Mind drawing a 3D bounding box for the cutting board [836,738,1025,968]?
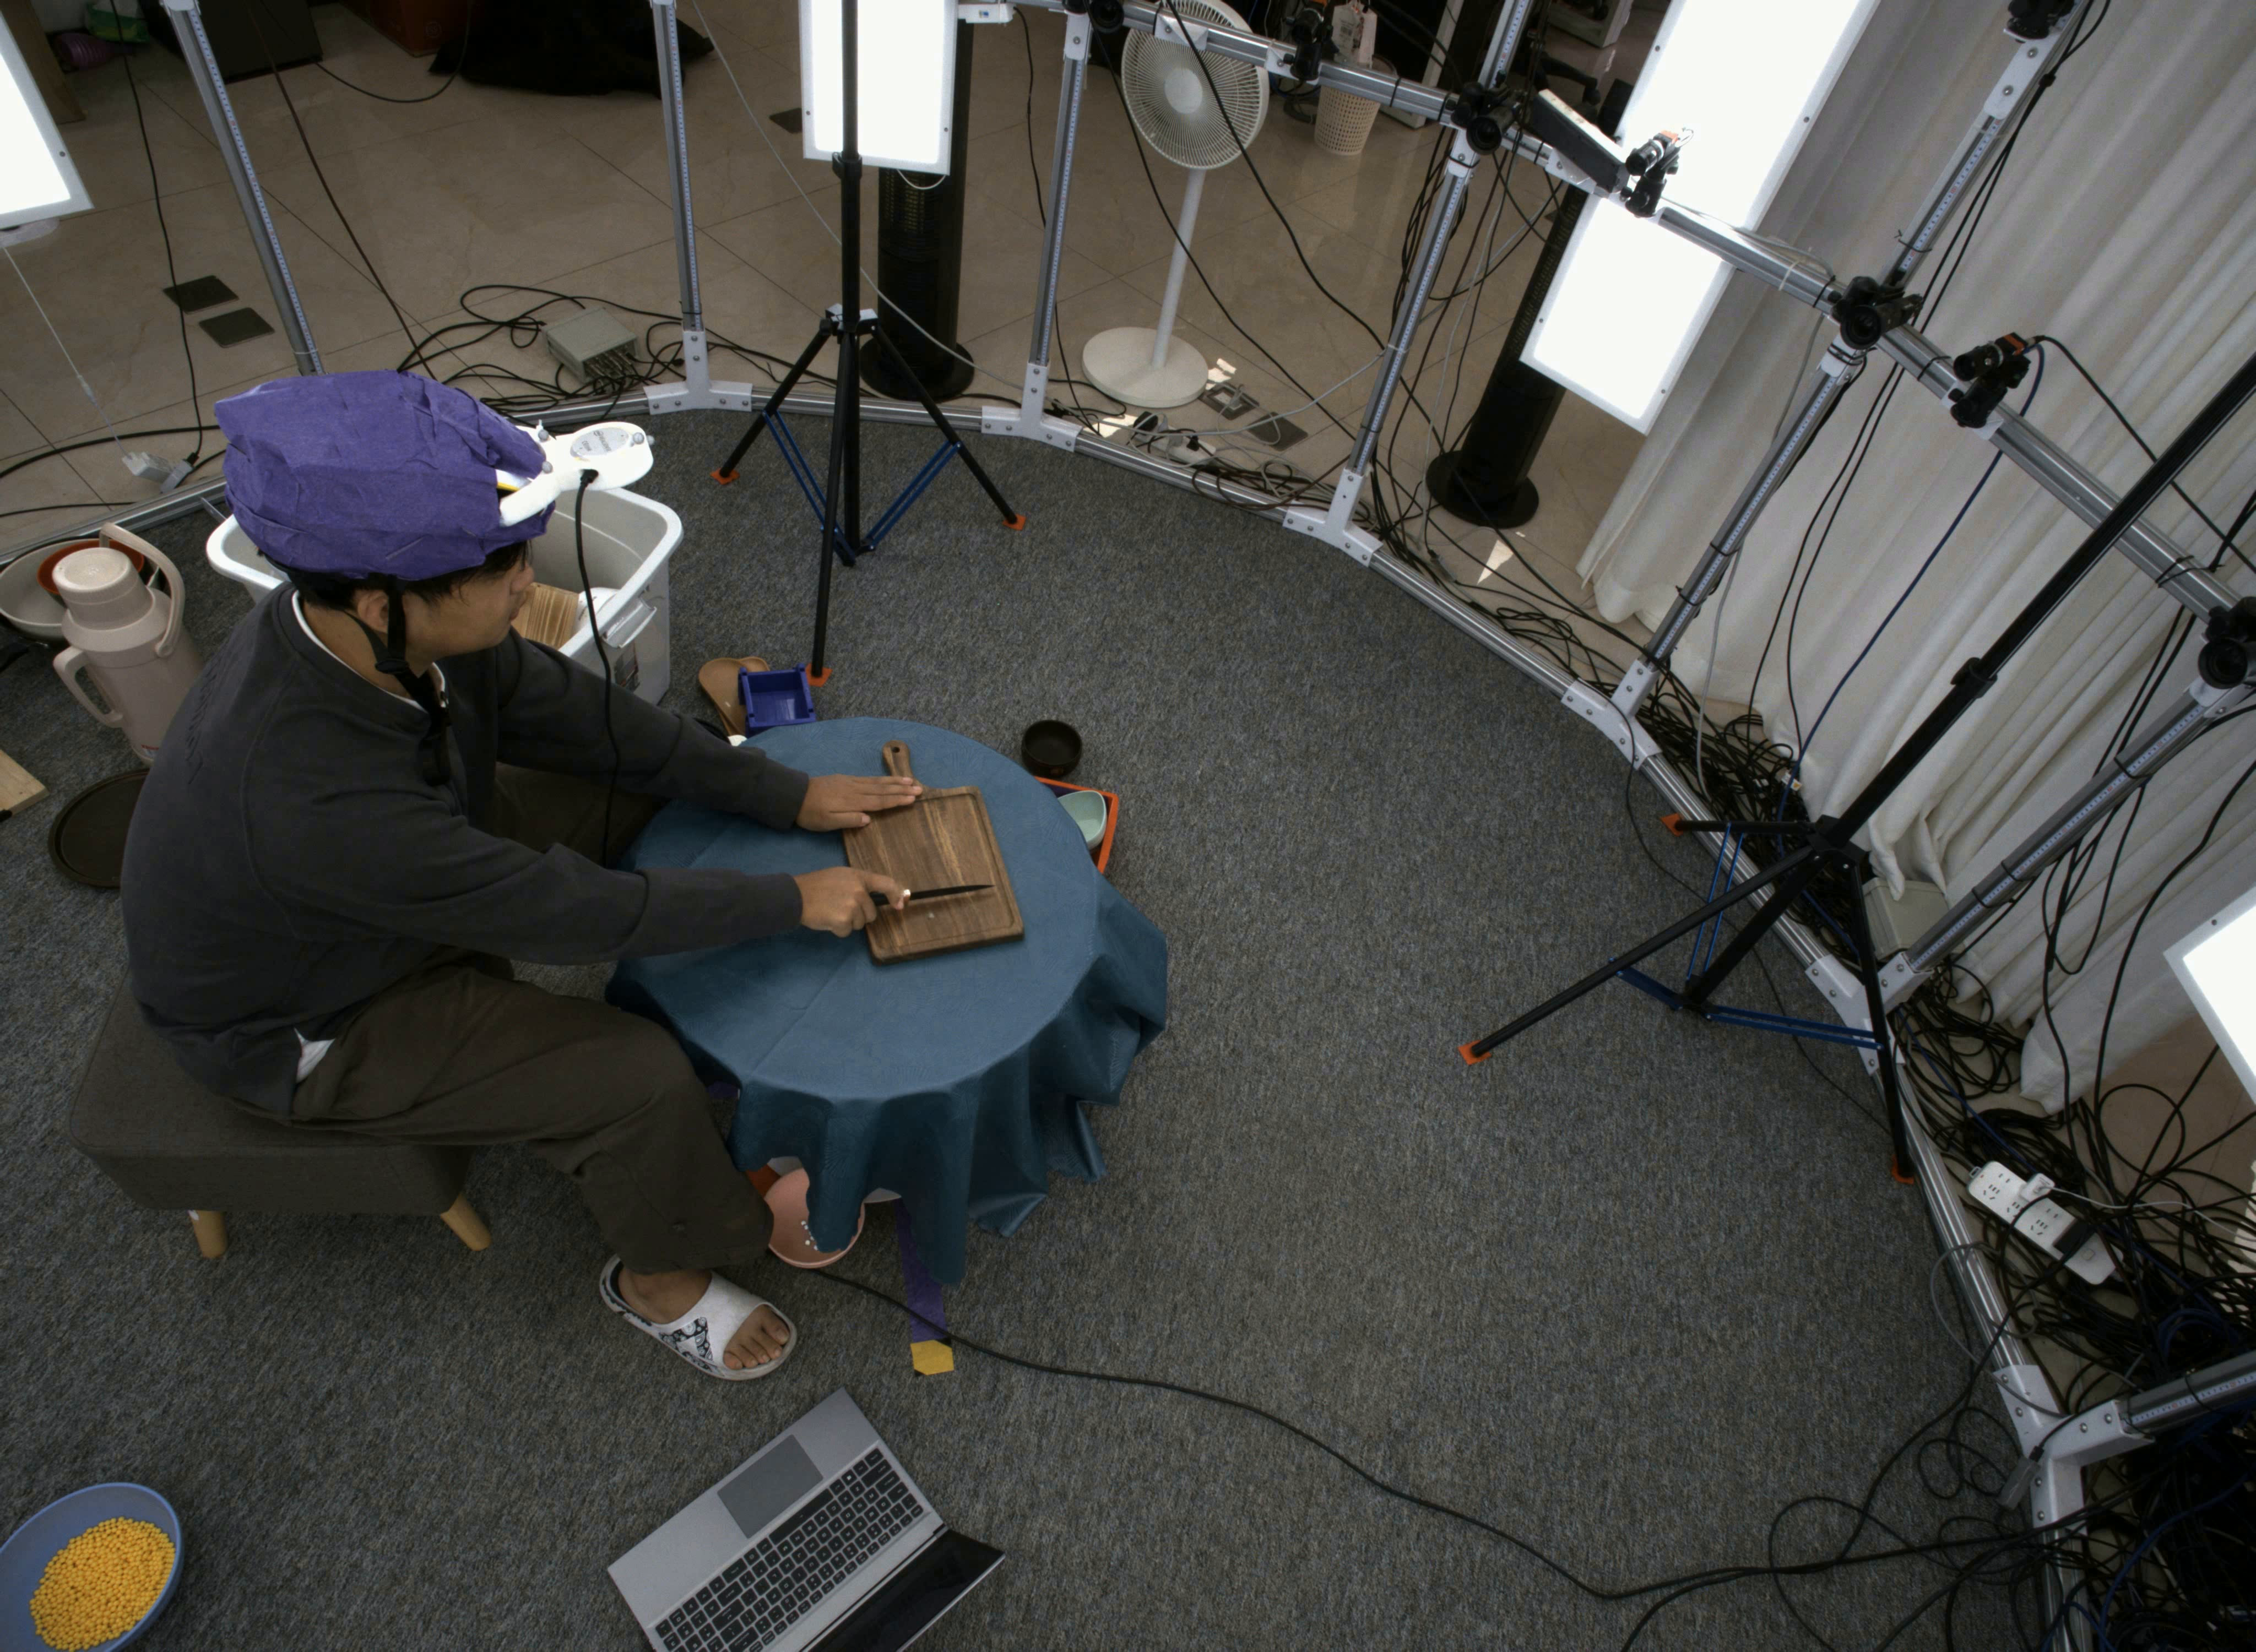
[{"bbox_3d":[-0.275,0.019,1.729,0.202,0.023,0.343,-9,57,-20],"label":"cutting board"}]

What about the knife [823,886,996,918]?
[{"bbox_3d":[-0.275,0.091,1.653,0.227,0.026,0.017,-8,63,-22],"label":"knife"}]
